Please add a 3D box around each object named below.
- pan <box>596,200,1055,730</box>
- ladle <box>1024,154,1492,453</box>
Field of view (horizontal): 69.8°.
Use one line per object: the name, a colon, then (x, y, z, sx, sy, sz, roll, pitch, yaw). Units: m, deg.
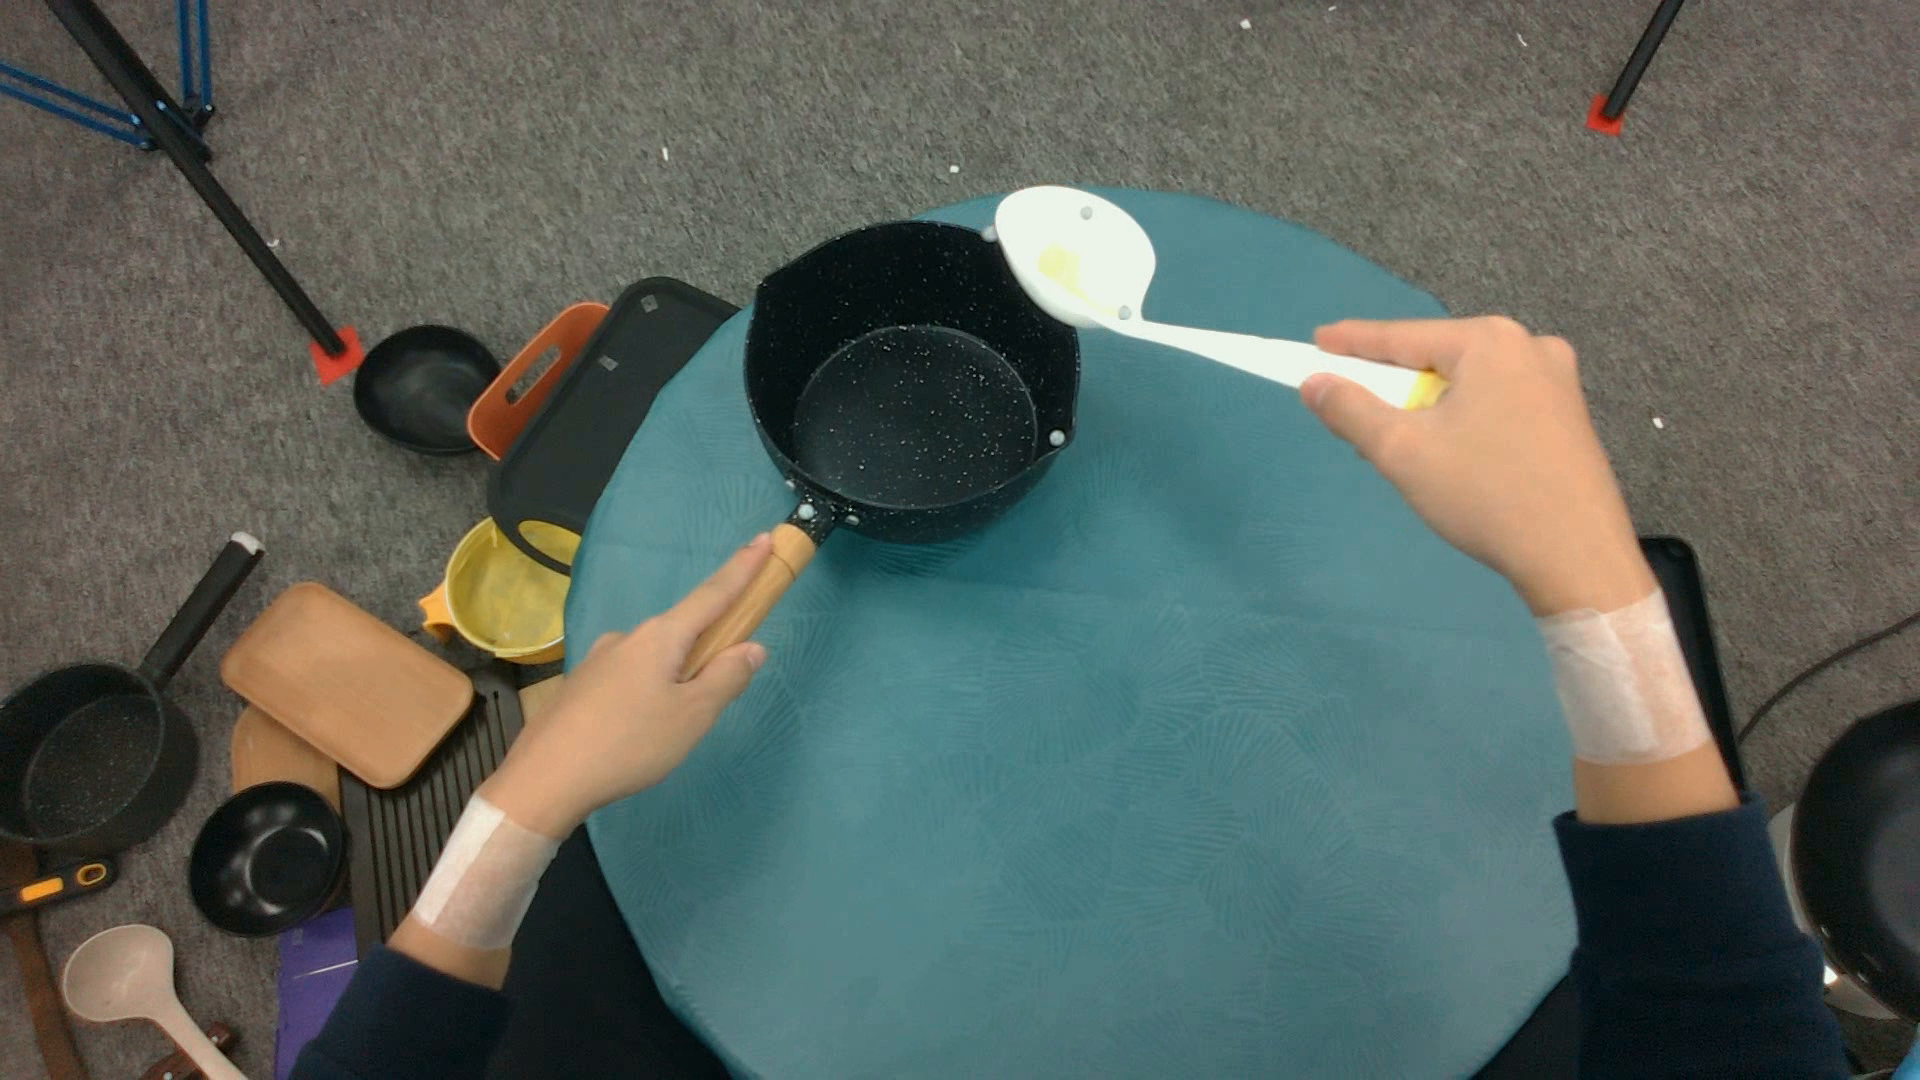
pan: (-0.078, -0.032, 0.744, 0.207, 0.108, 0.344, 26, 67, 9)
ladle: (0.125, -0.118, 0.631, 0.090, 0.070, 0.293, 3, 20, -32)
